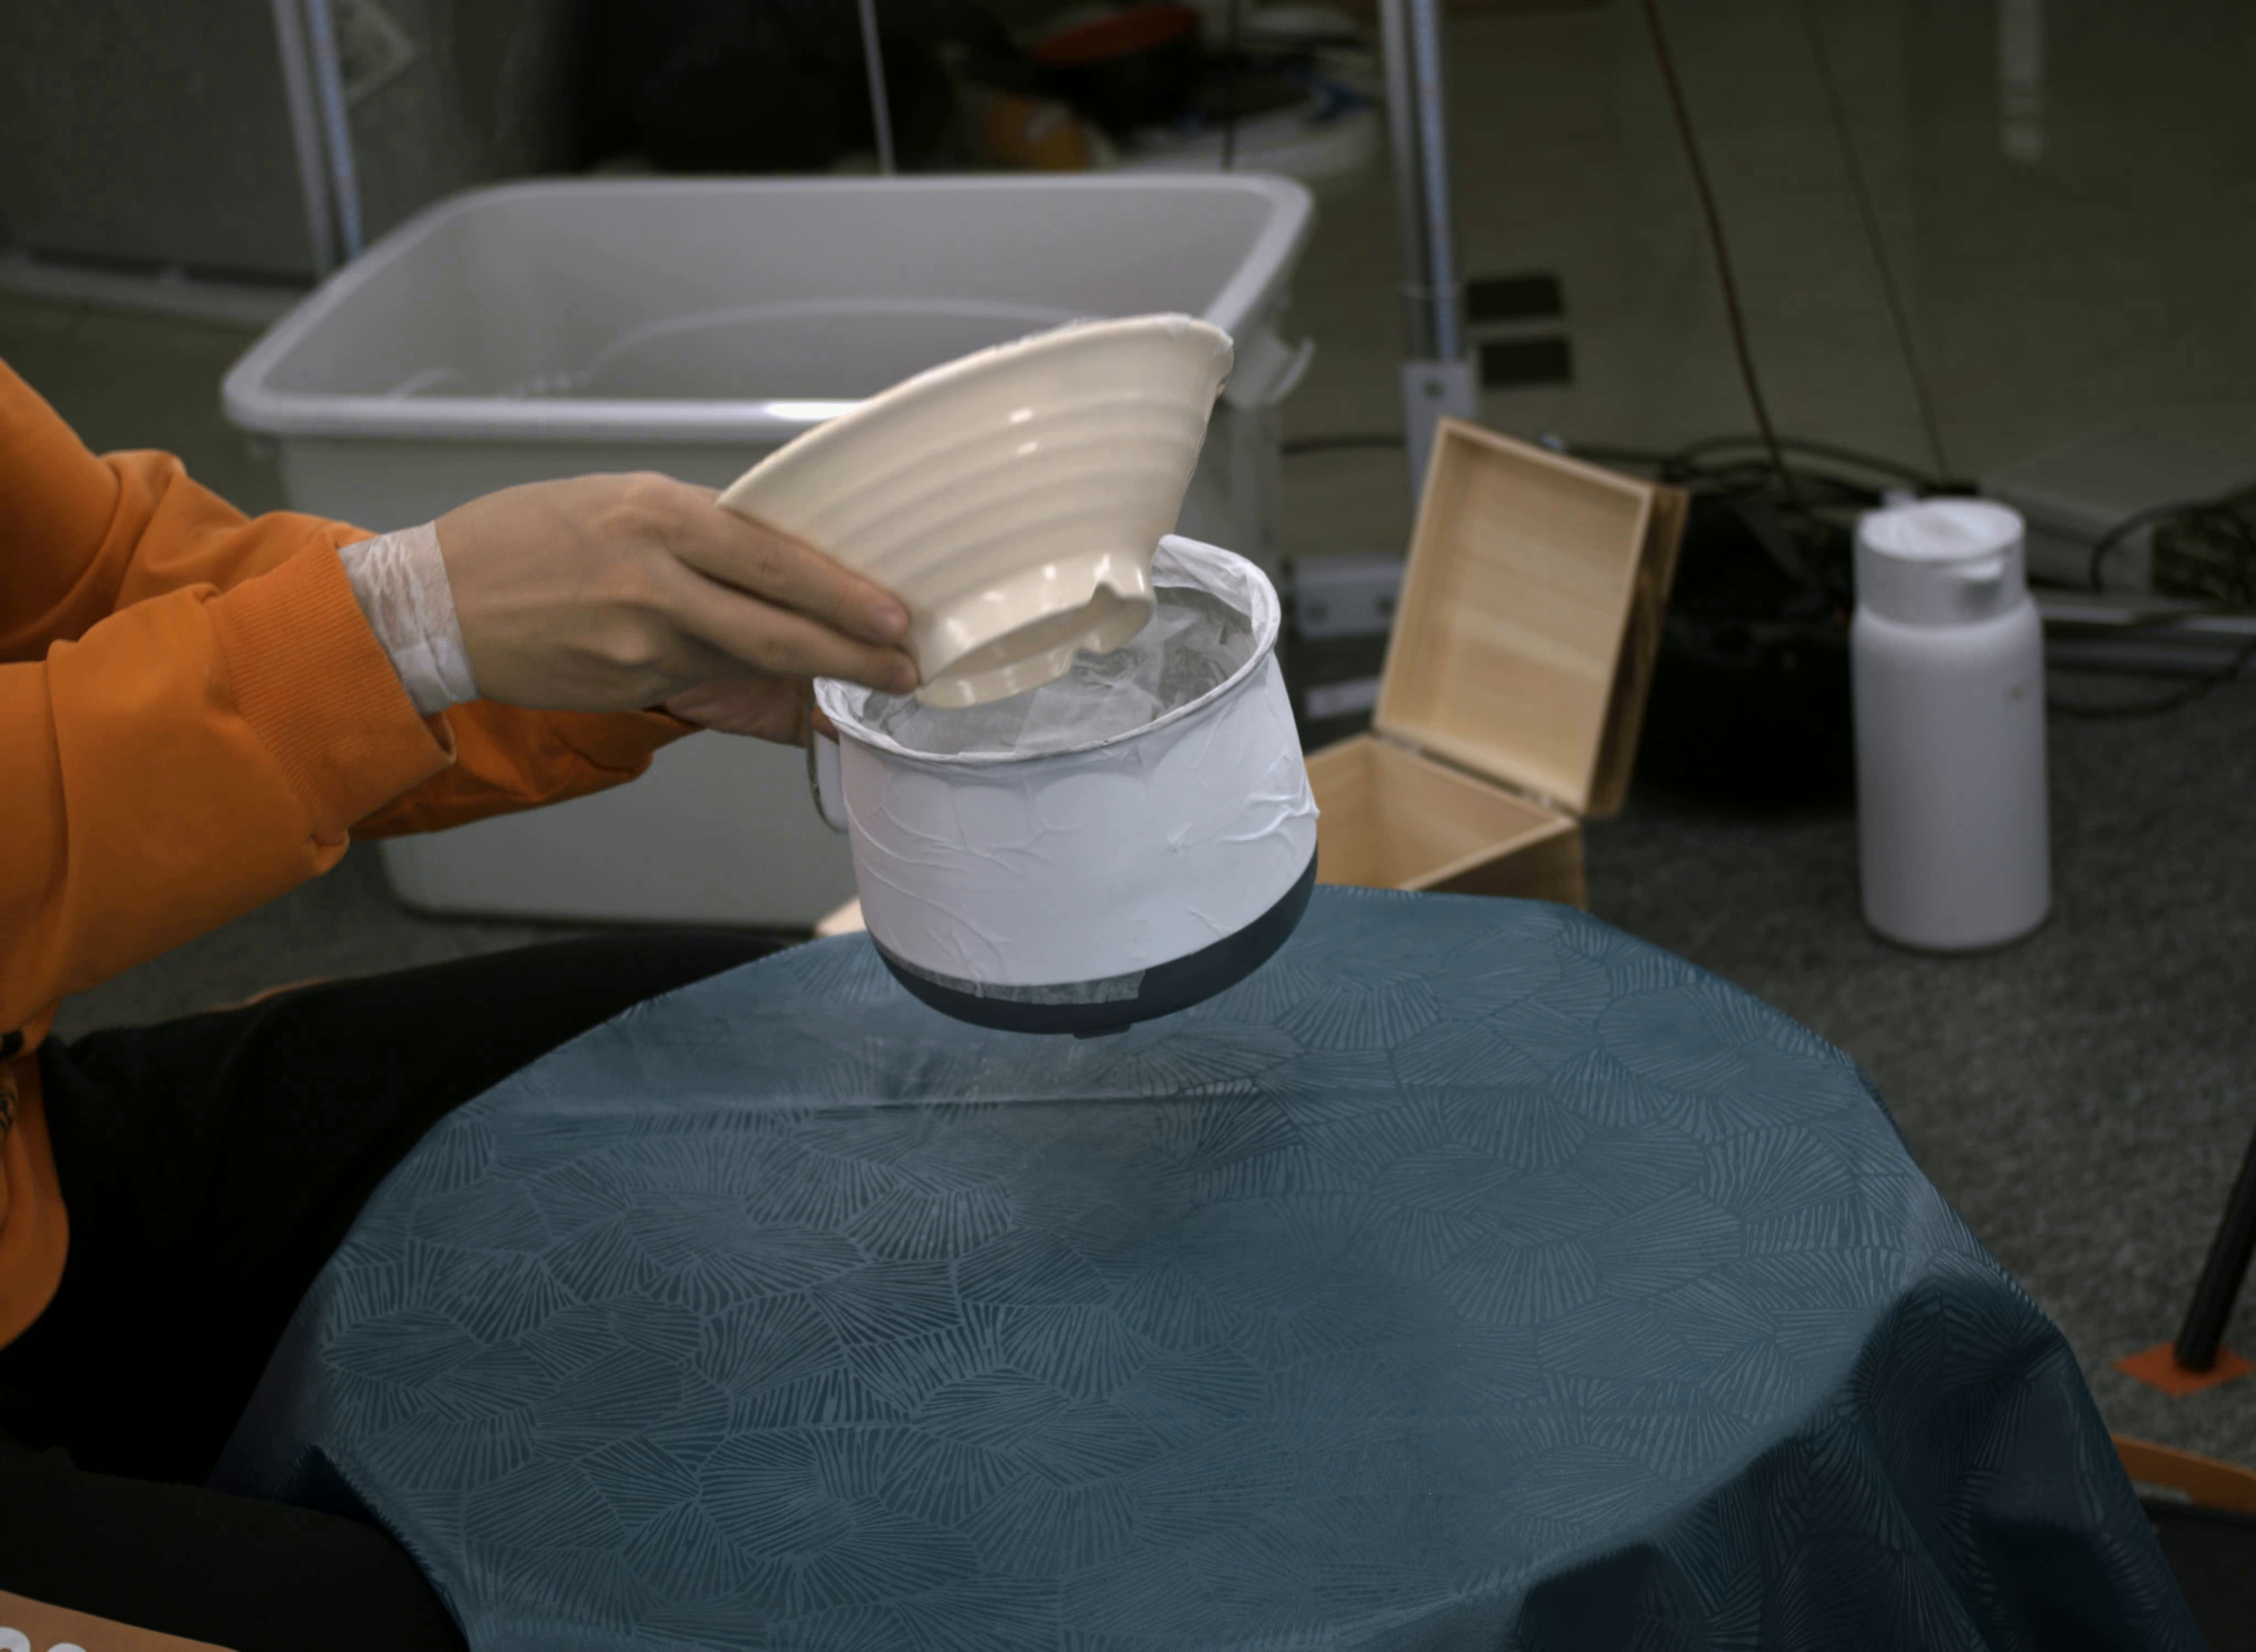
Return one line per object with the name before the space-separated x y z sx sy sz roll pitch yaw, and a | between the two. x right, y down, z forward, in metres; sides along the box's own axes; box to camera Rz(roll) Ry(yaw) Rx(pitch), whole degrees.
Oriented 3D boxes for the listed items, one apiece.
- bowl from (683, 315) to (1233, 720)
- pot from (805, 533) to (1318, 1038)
bowl | -0.043 -0.090 1.917 0.203 0.077 0.205 -24 -12 -5
pot | -0.040 -0.021 2.157 0.232 0.139 0.177 19 40 40
